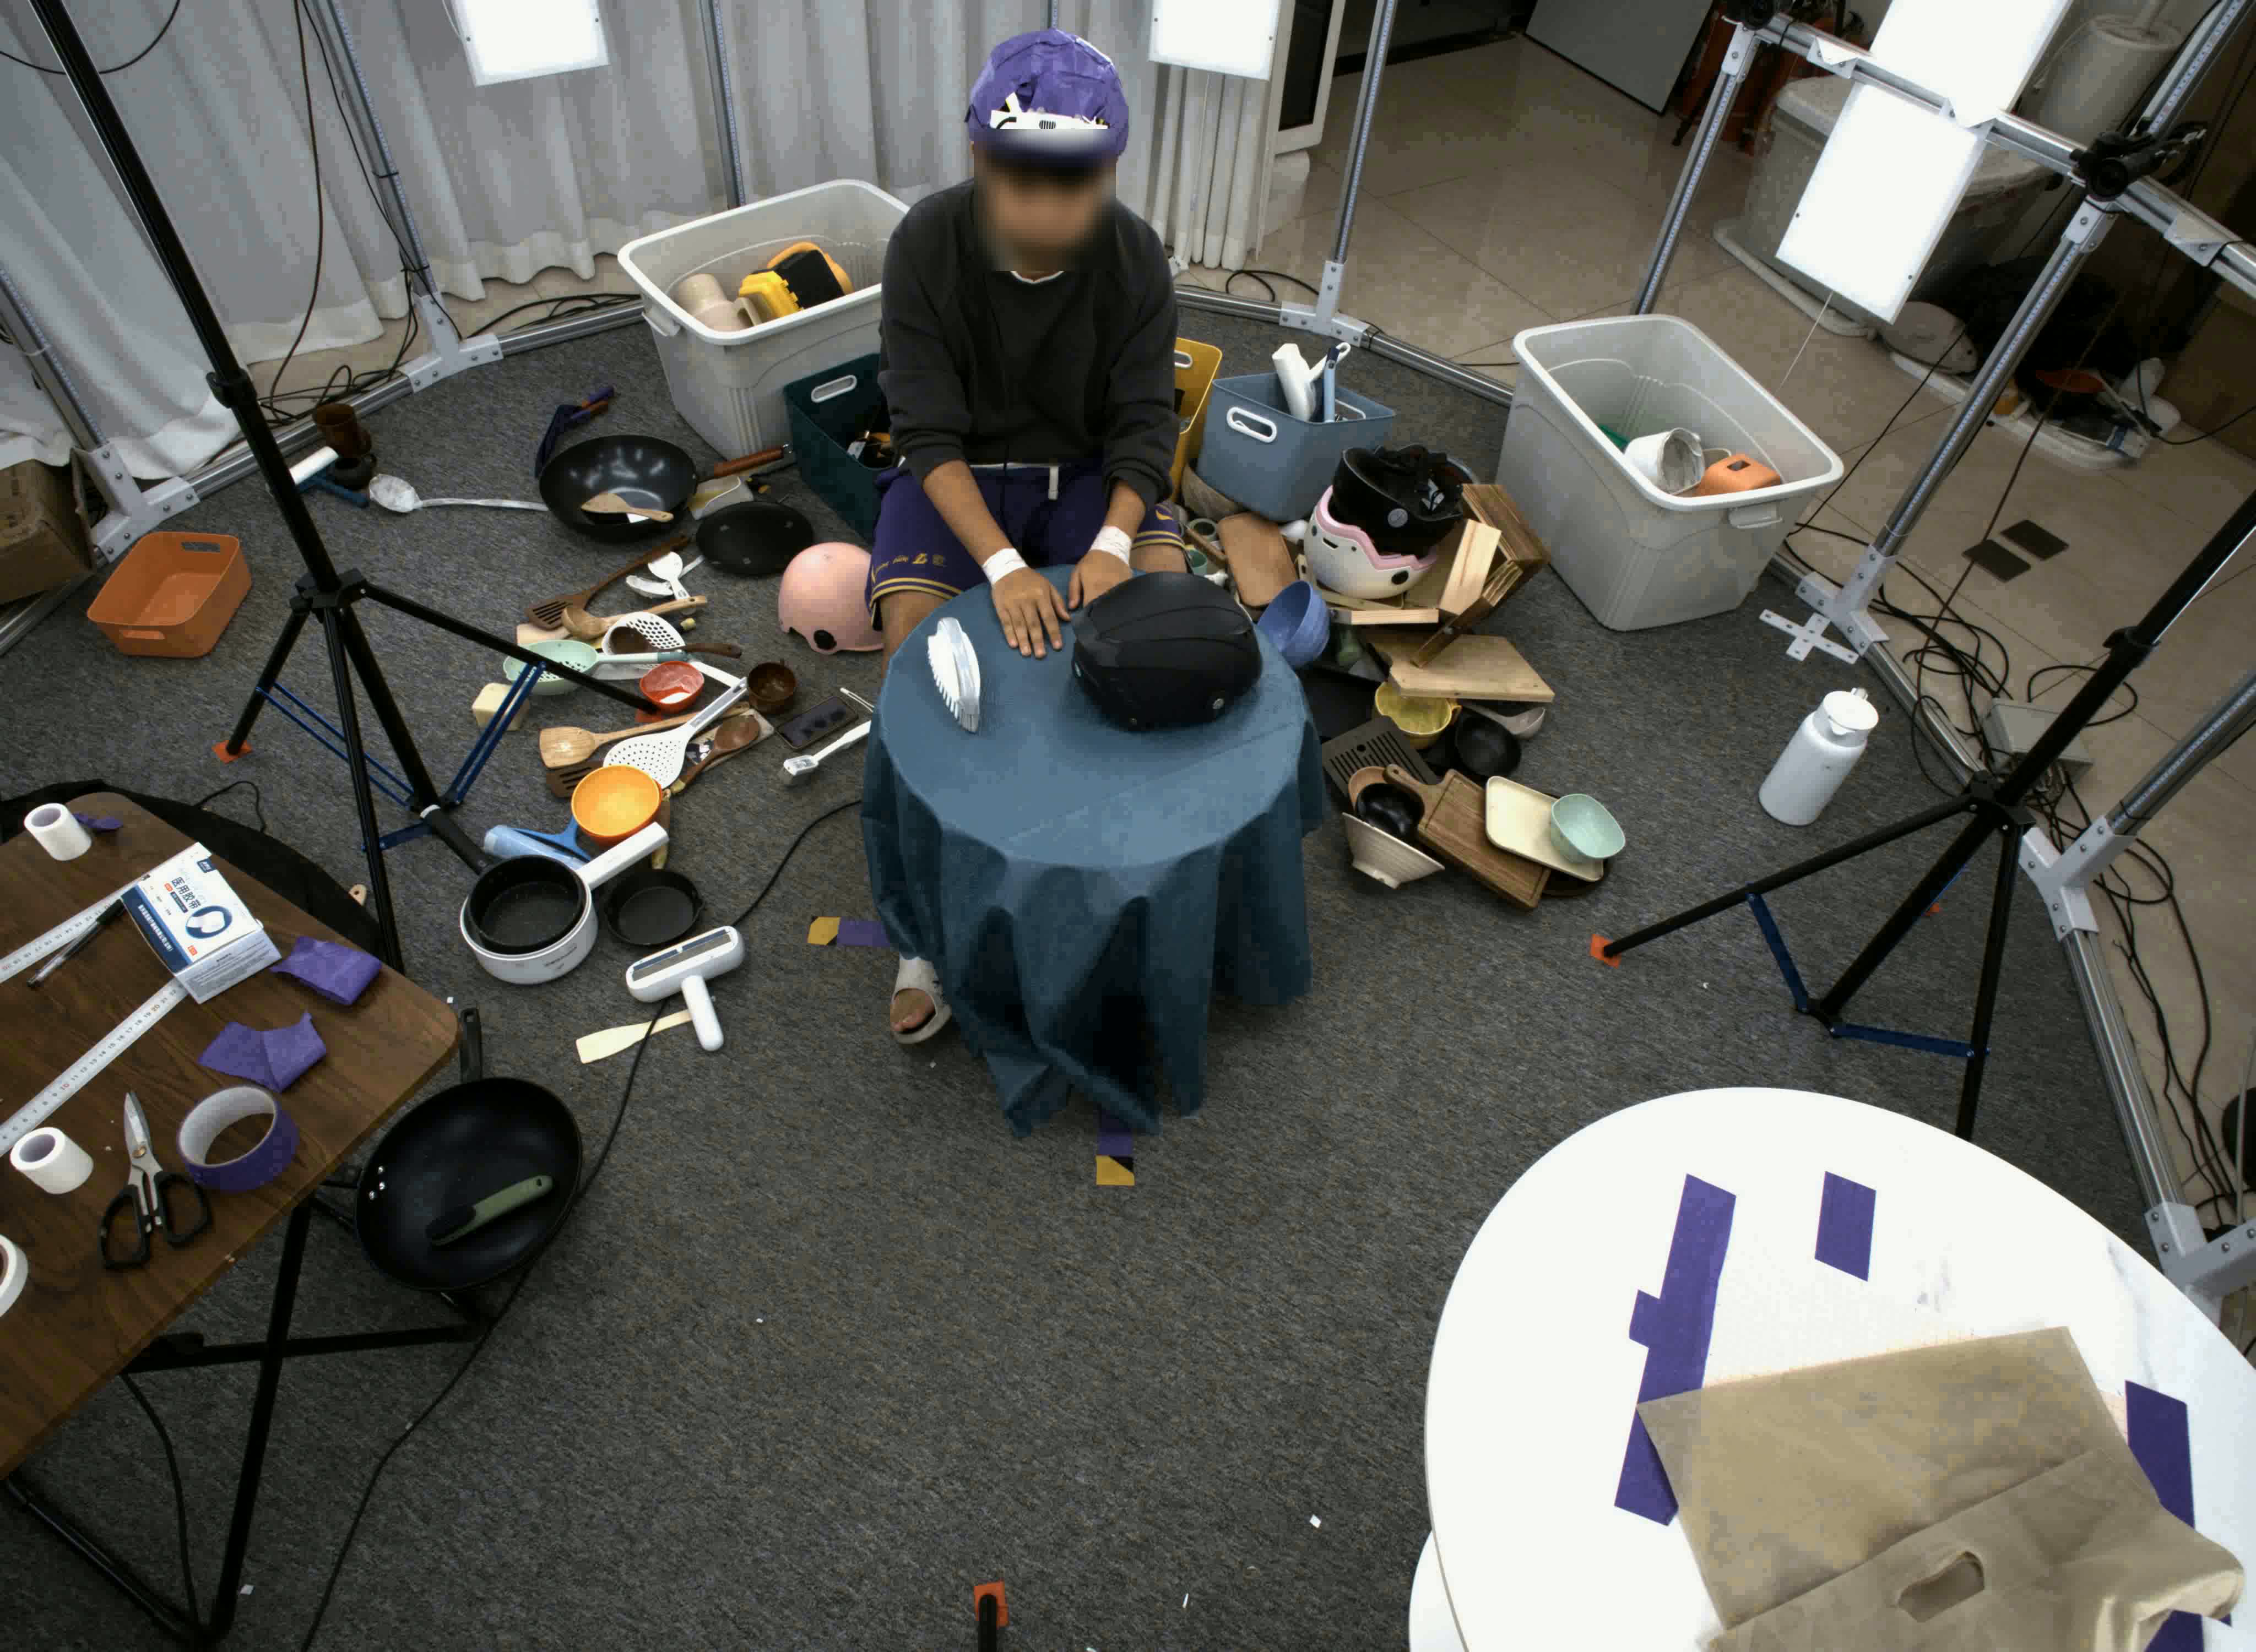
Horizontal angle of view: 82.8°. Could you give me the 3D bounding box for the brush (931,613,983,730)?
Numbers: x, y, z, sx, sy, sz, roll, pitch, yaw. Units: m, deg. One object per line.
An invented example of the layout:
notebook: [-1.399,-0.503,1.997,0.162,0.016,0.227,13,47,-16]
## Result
brush: [-0.232,-0.223,1.786,0.061,0.092,0.180,-11,52,-12]

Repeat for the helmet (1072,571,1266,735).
helmet: [0.056,-0.263,1.797,0.277,0.168,0.252,-16,53,-12]
